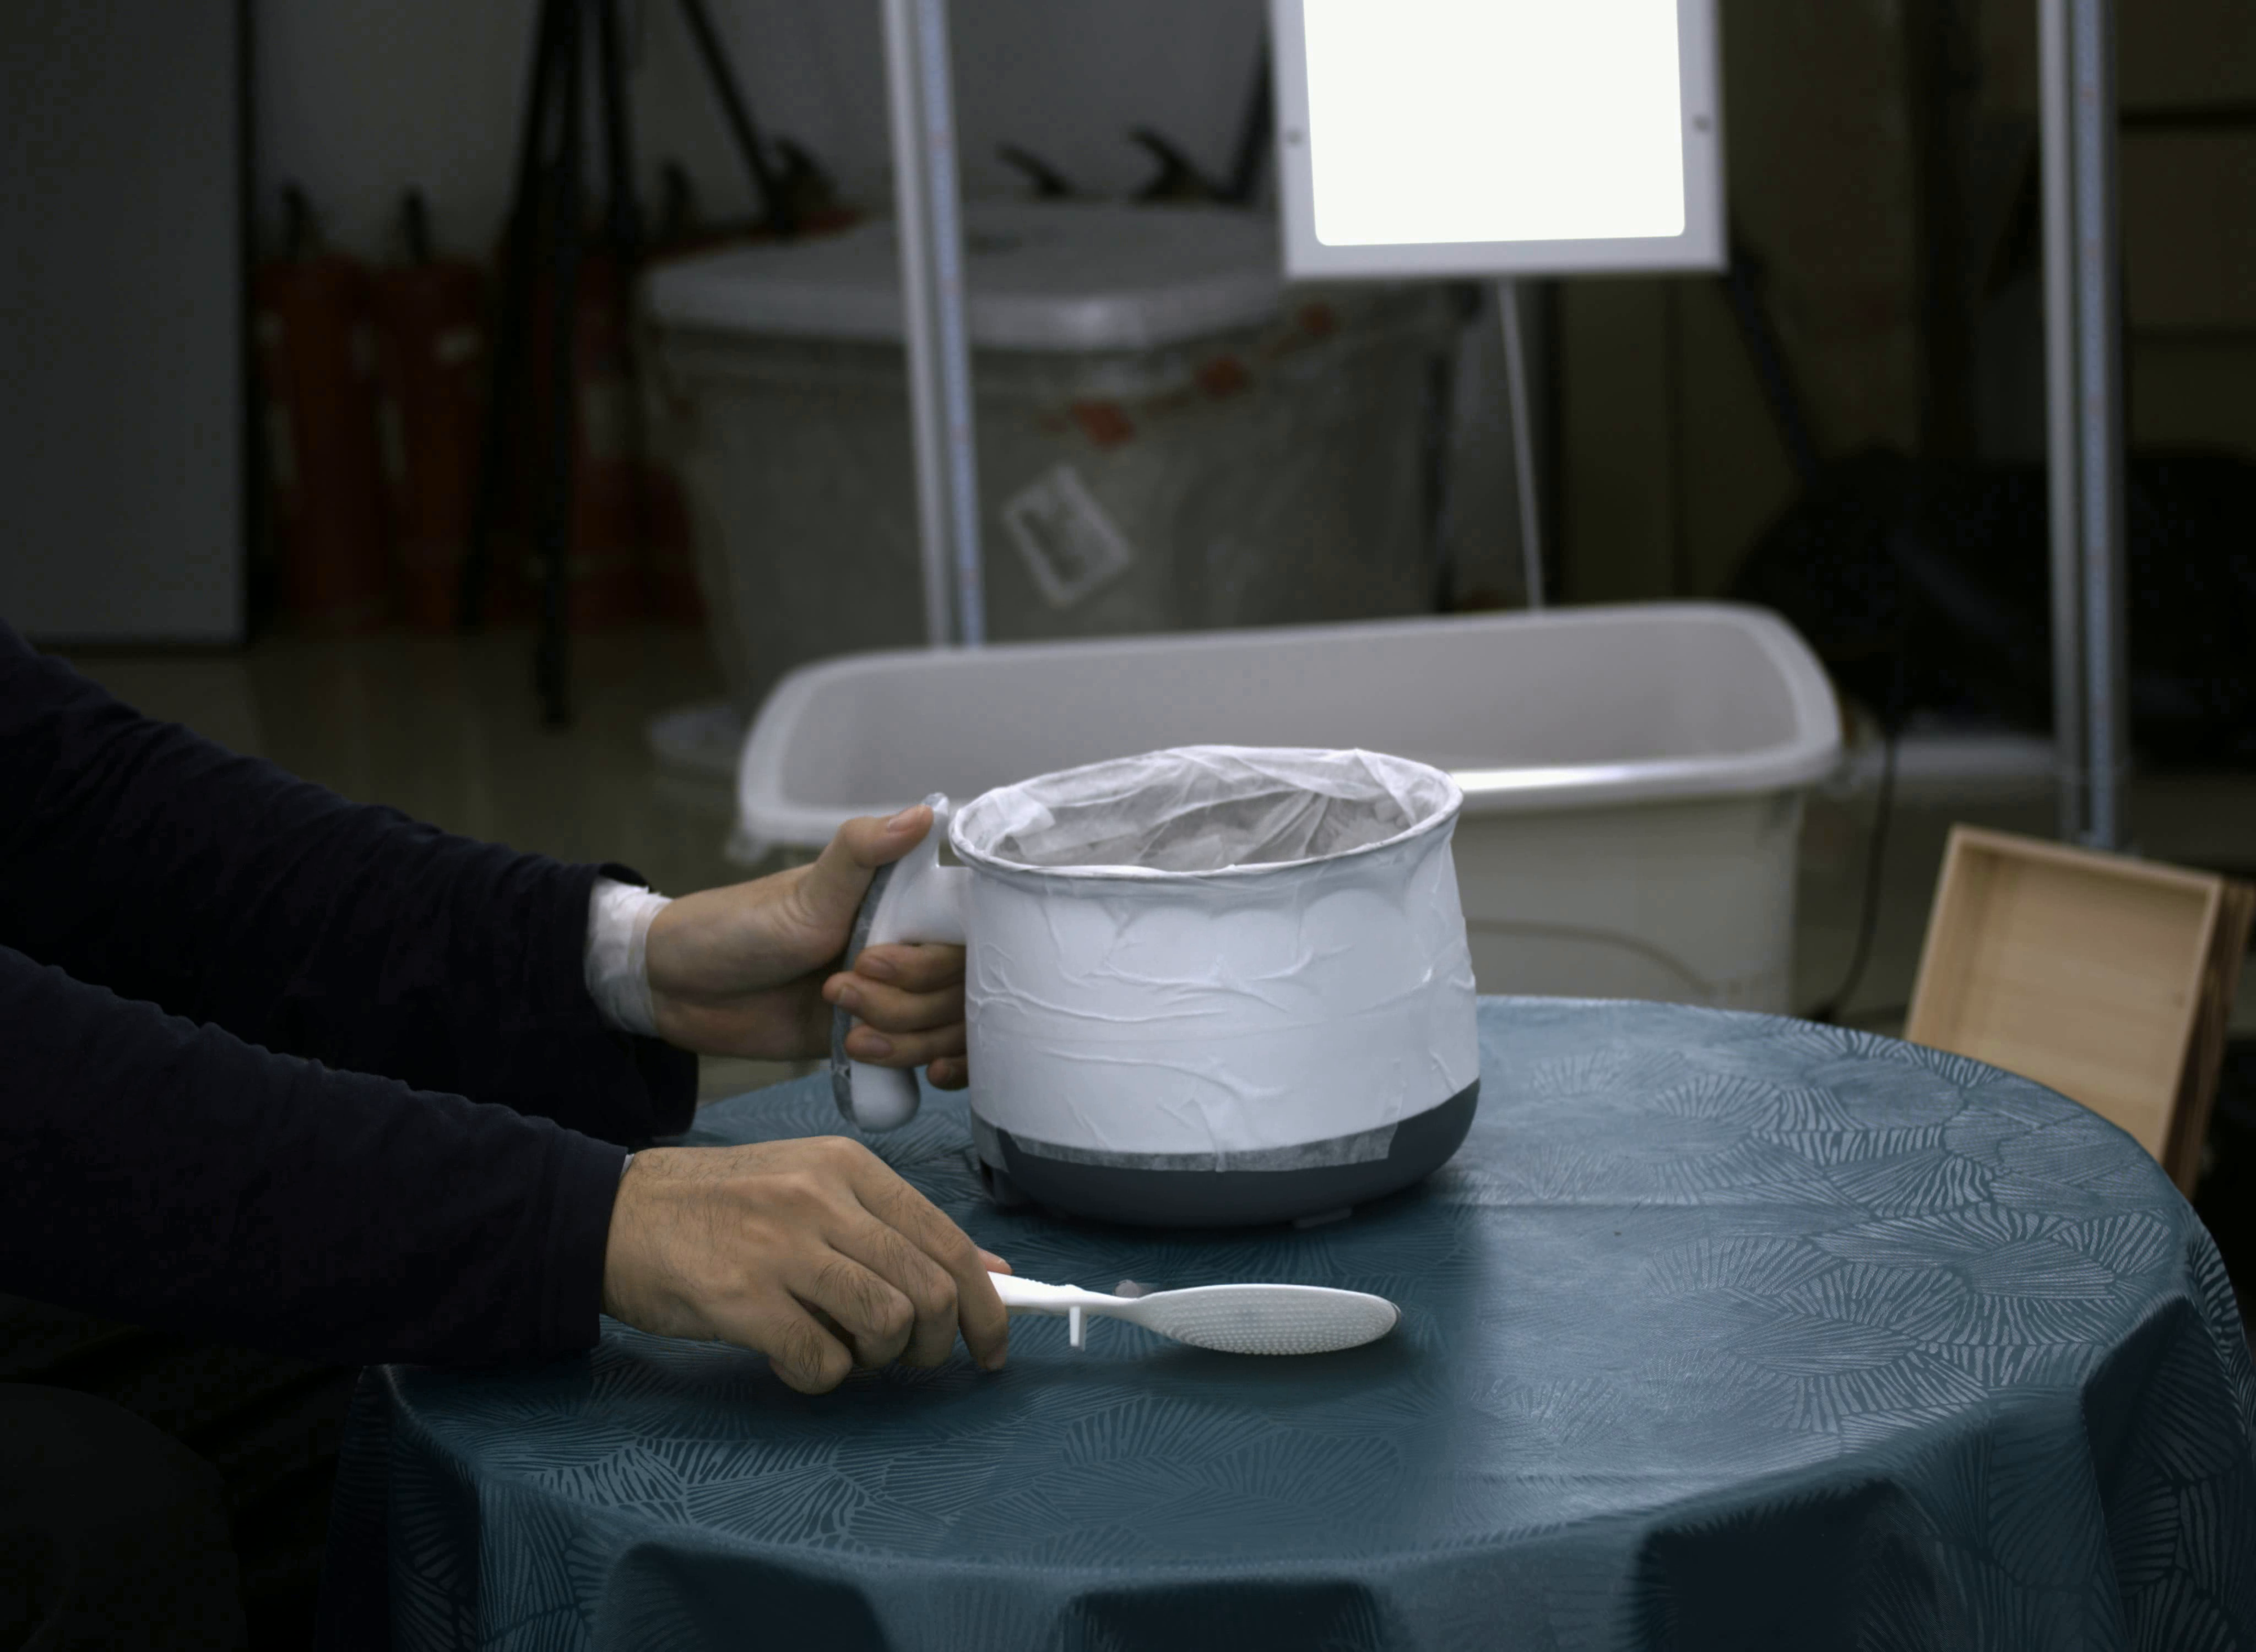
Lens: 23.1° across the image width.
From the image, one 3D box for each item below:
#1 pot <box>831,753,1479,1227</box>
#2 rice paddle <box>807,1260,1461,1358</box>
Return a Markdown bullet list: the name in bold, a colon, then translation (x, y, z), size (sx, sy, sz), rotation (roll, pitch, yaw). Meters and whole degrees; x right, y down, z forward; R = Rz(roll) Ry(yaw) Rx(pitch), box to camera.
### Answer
- **pot**: translation (0.006, 0.055, 1.905), size (0.237, 0.137, 0.176), rotation (0, 13, 20)
- **rice paddle**: translation (0.003, 0.150, 1.714), size (0.204, 0.029, 0.069), rotation (0, -17, -2)
